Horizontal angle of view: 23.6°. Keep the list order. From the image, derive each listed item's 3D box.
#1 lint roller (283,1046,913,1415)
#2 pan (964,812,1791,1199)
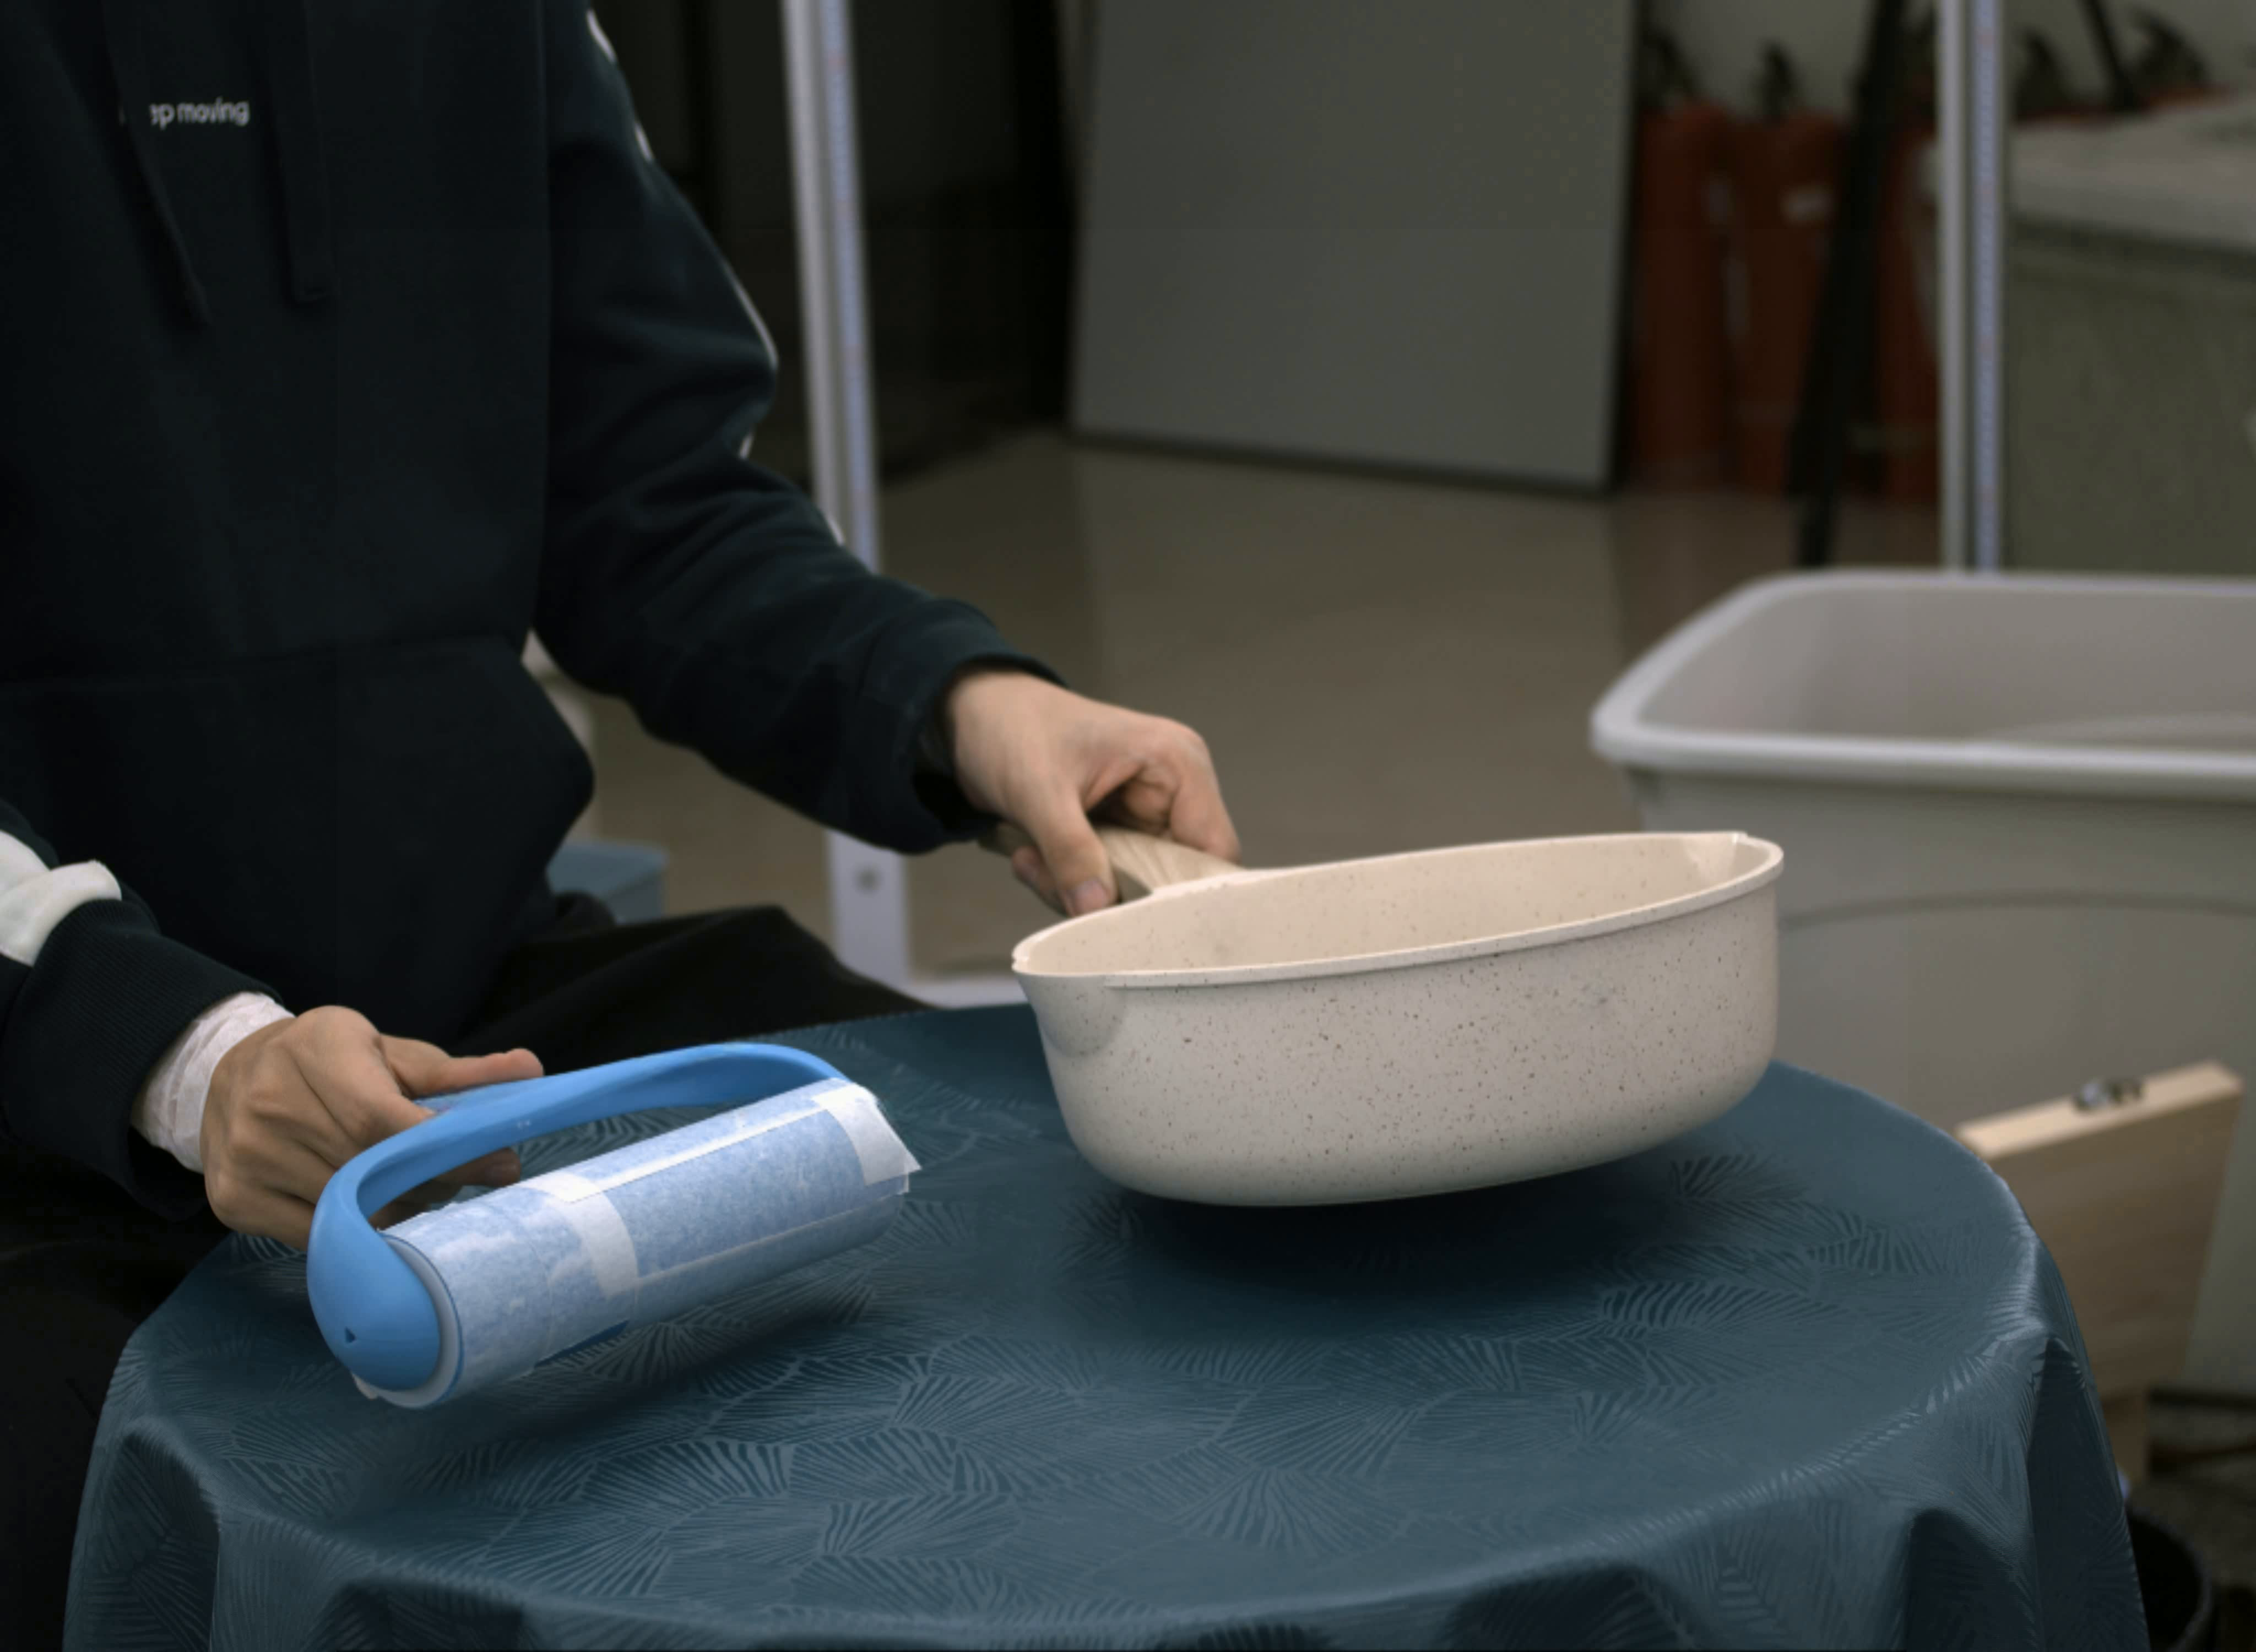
[{"bbox_3d":[-0.192,0.113,1.640,0.181,0.068,0.225,10,19,36],"label":"lint roller"},{"bbox_3d":[0.054,0.051,1.811,0.258,0.103,0.439,-12,6,-25],"label":"pan"}]
